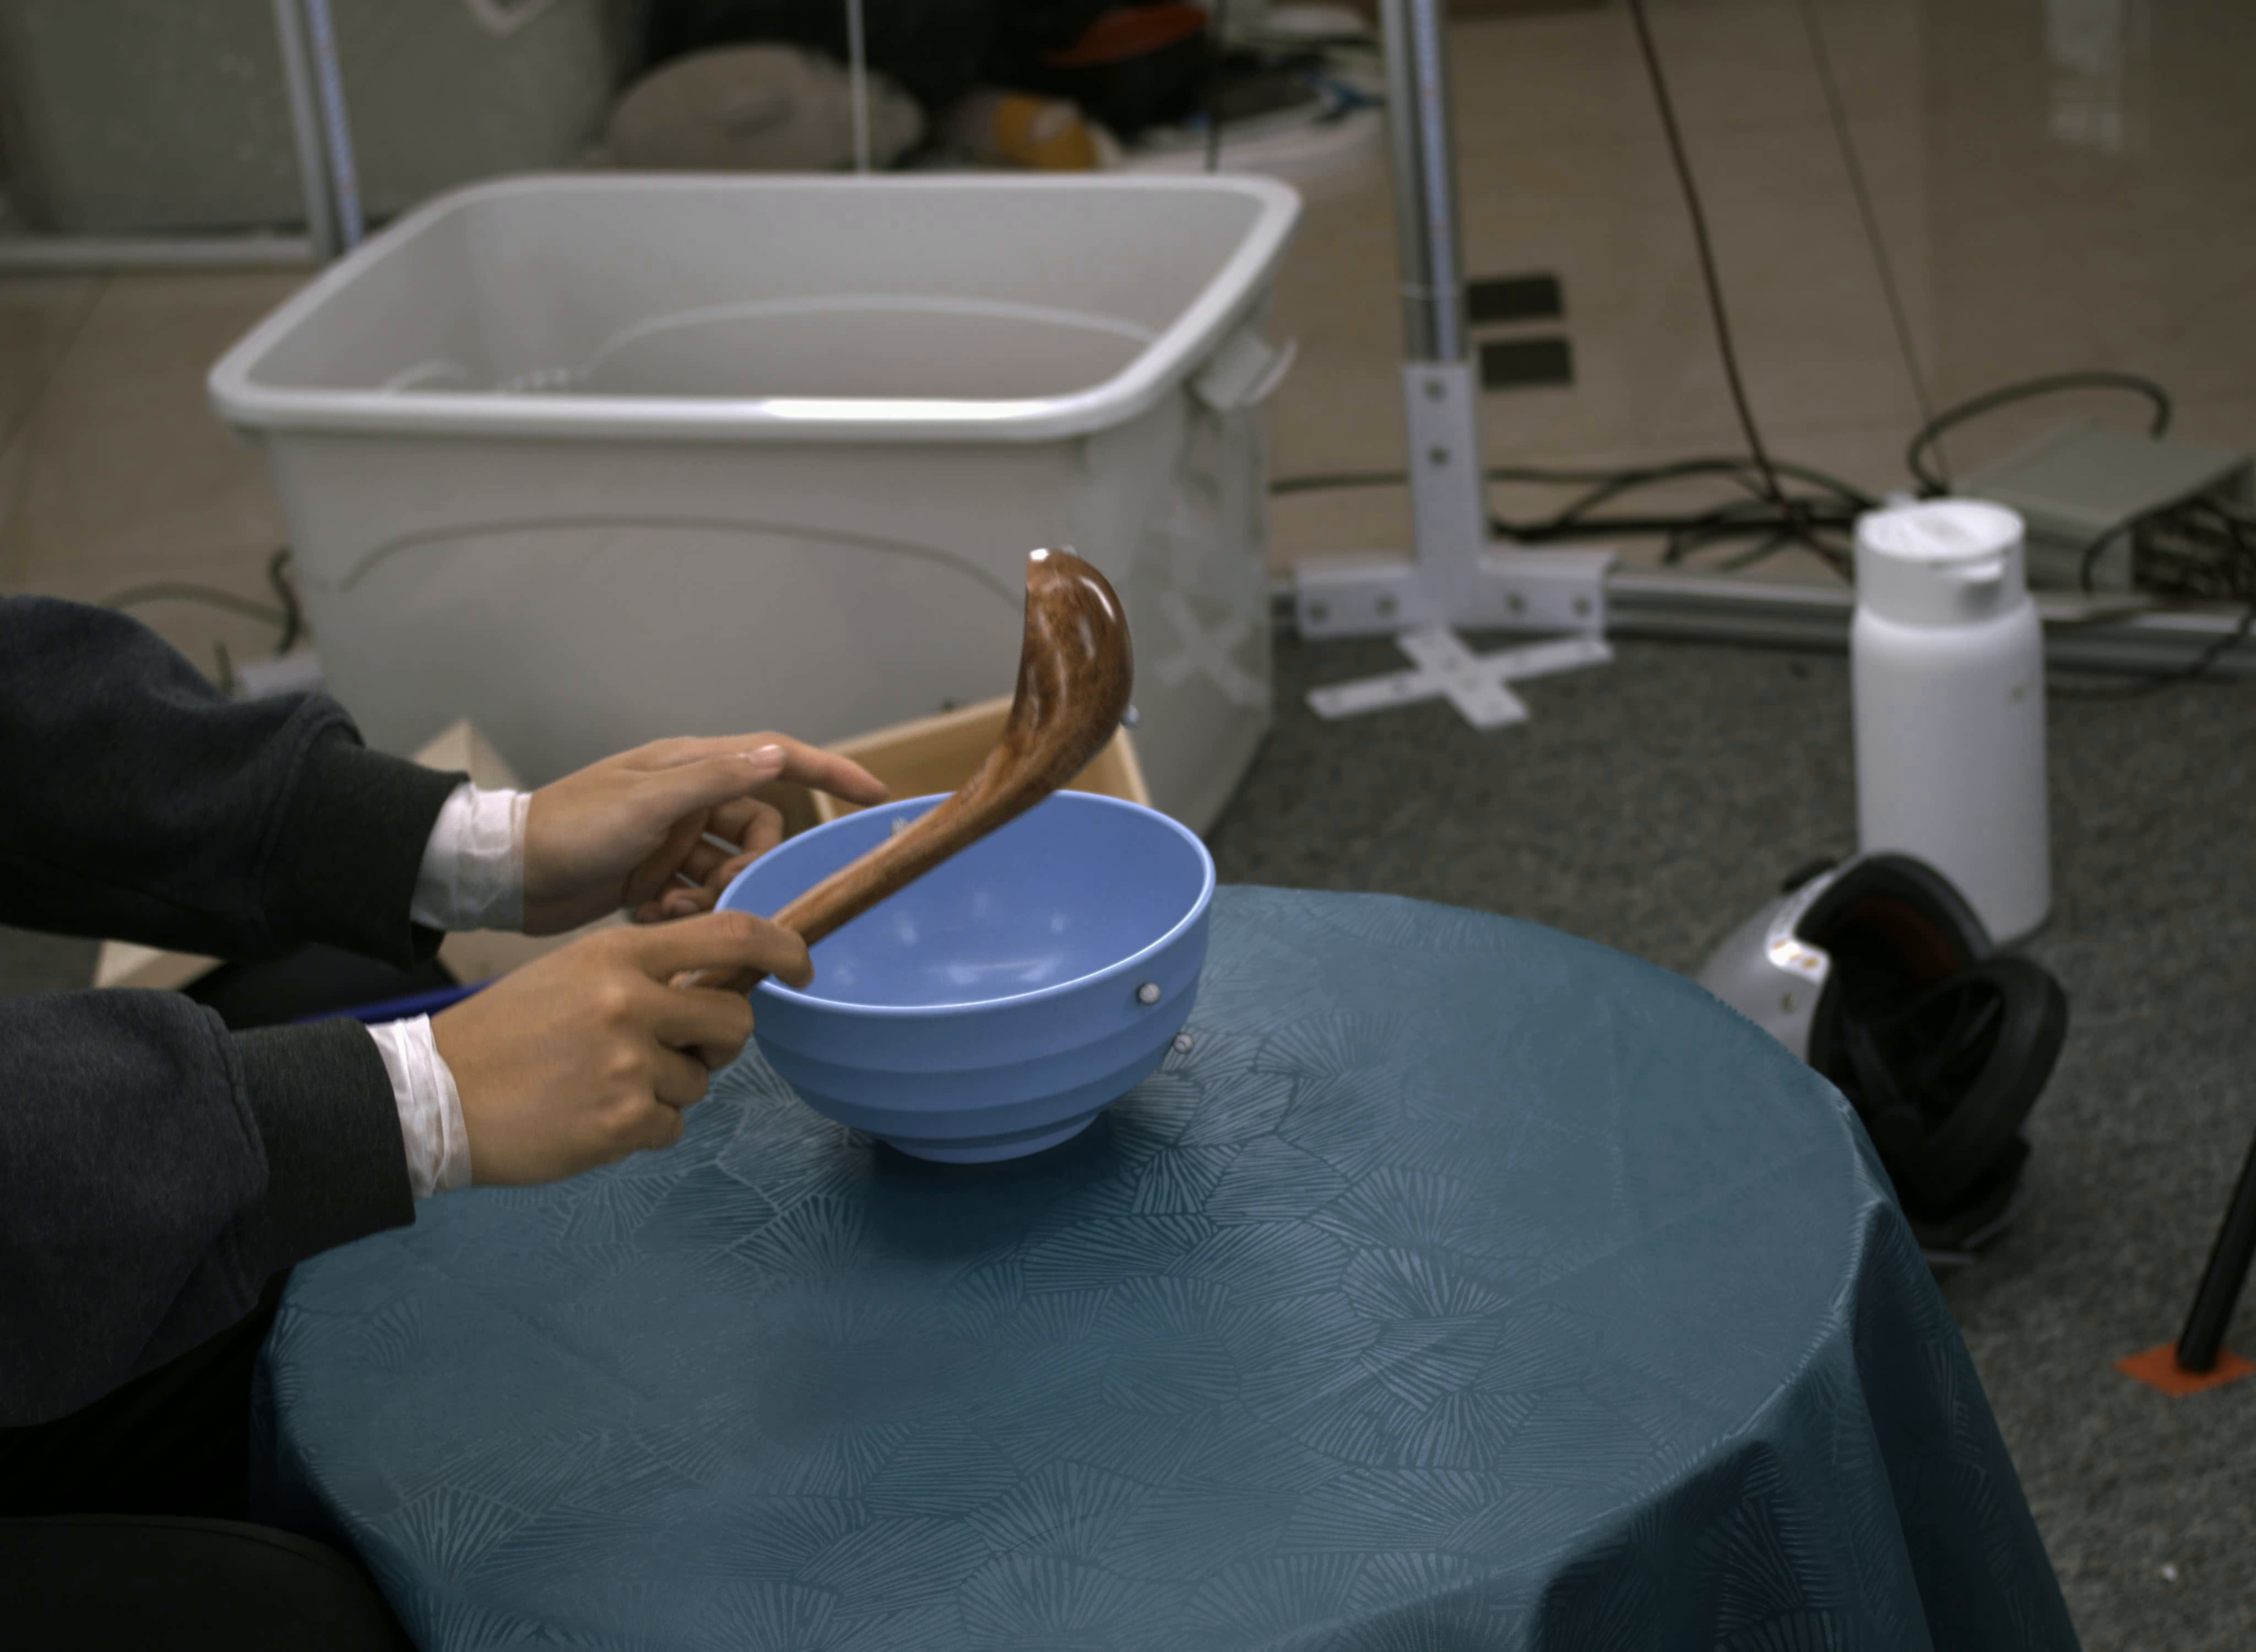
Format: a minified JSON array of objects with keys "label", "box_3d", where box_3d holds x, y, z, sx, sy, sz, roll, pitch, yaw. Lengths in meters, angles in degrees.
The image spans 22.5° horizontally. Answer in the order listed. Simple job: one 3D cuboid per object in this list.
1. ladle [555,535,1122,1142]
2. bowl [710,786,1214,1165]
[{"label":"ladle","box_3d":[-0.109,0.000,1.999,0.273,0.083,0.075,-38,57,-9]},{"label":"bowl","box_3d":[-0.059,0.069,2.199,0.196,0.097,0.193,-6,26,3]}]
